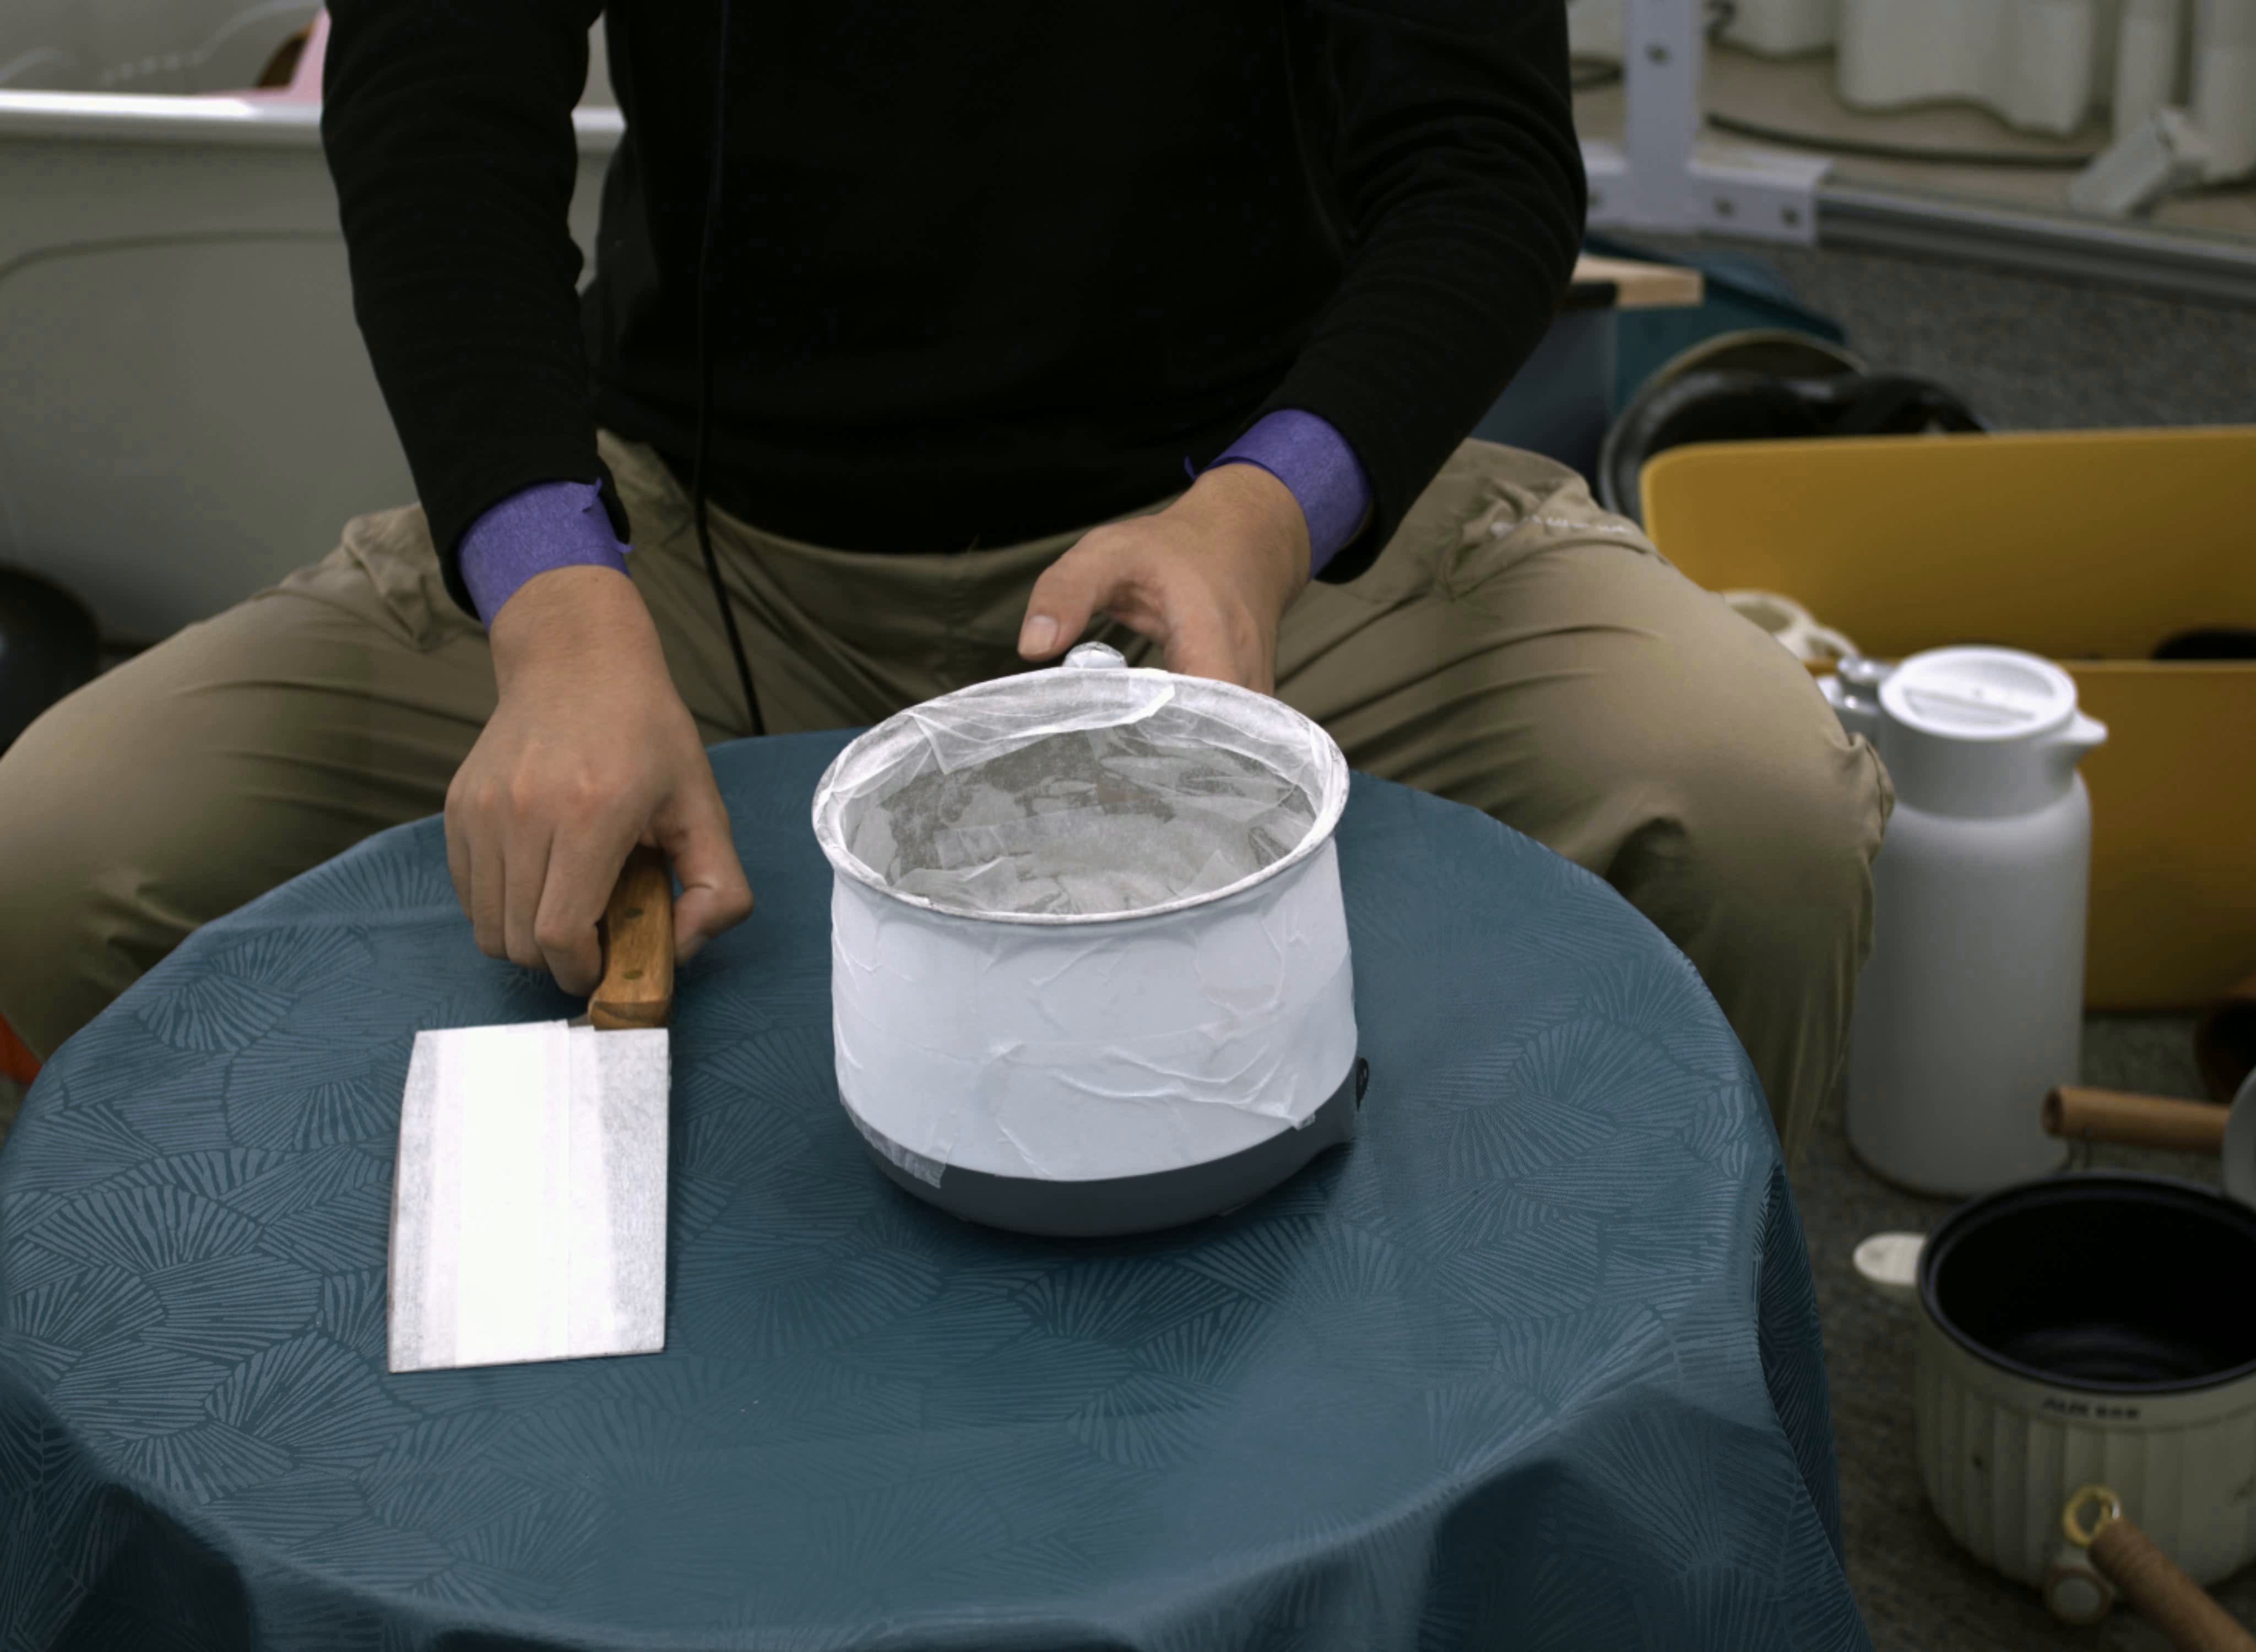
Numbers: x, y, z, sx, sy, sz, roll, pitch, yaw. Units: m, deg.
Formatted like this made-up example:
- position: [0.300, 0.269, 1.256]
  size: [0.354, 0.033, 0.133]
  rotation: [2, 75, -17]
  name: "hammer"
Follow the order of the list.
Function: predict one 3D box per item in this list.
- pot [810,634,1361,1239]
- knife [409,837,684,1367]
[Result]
- position: [-0.012, 0.030, 1.888]
  size: [0.178, 0.135, 0.237]
  rotation: [-2, 28, 1]
  name: "pot"
- position: [-0.198, 0.091, 1.911]
  size: [0.092, 0.021, 0.310]
  rotation: [-2, 31, -2]
  name: "knife"
